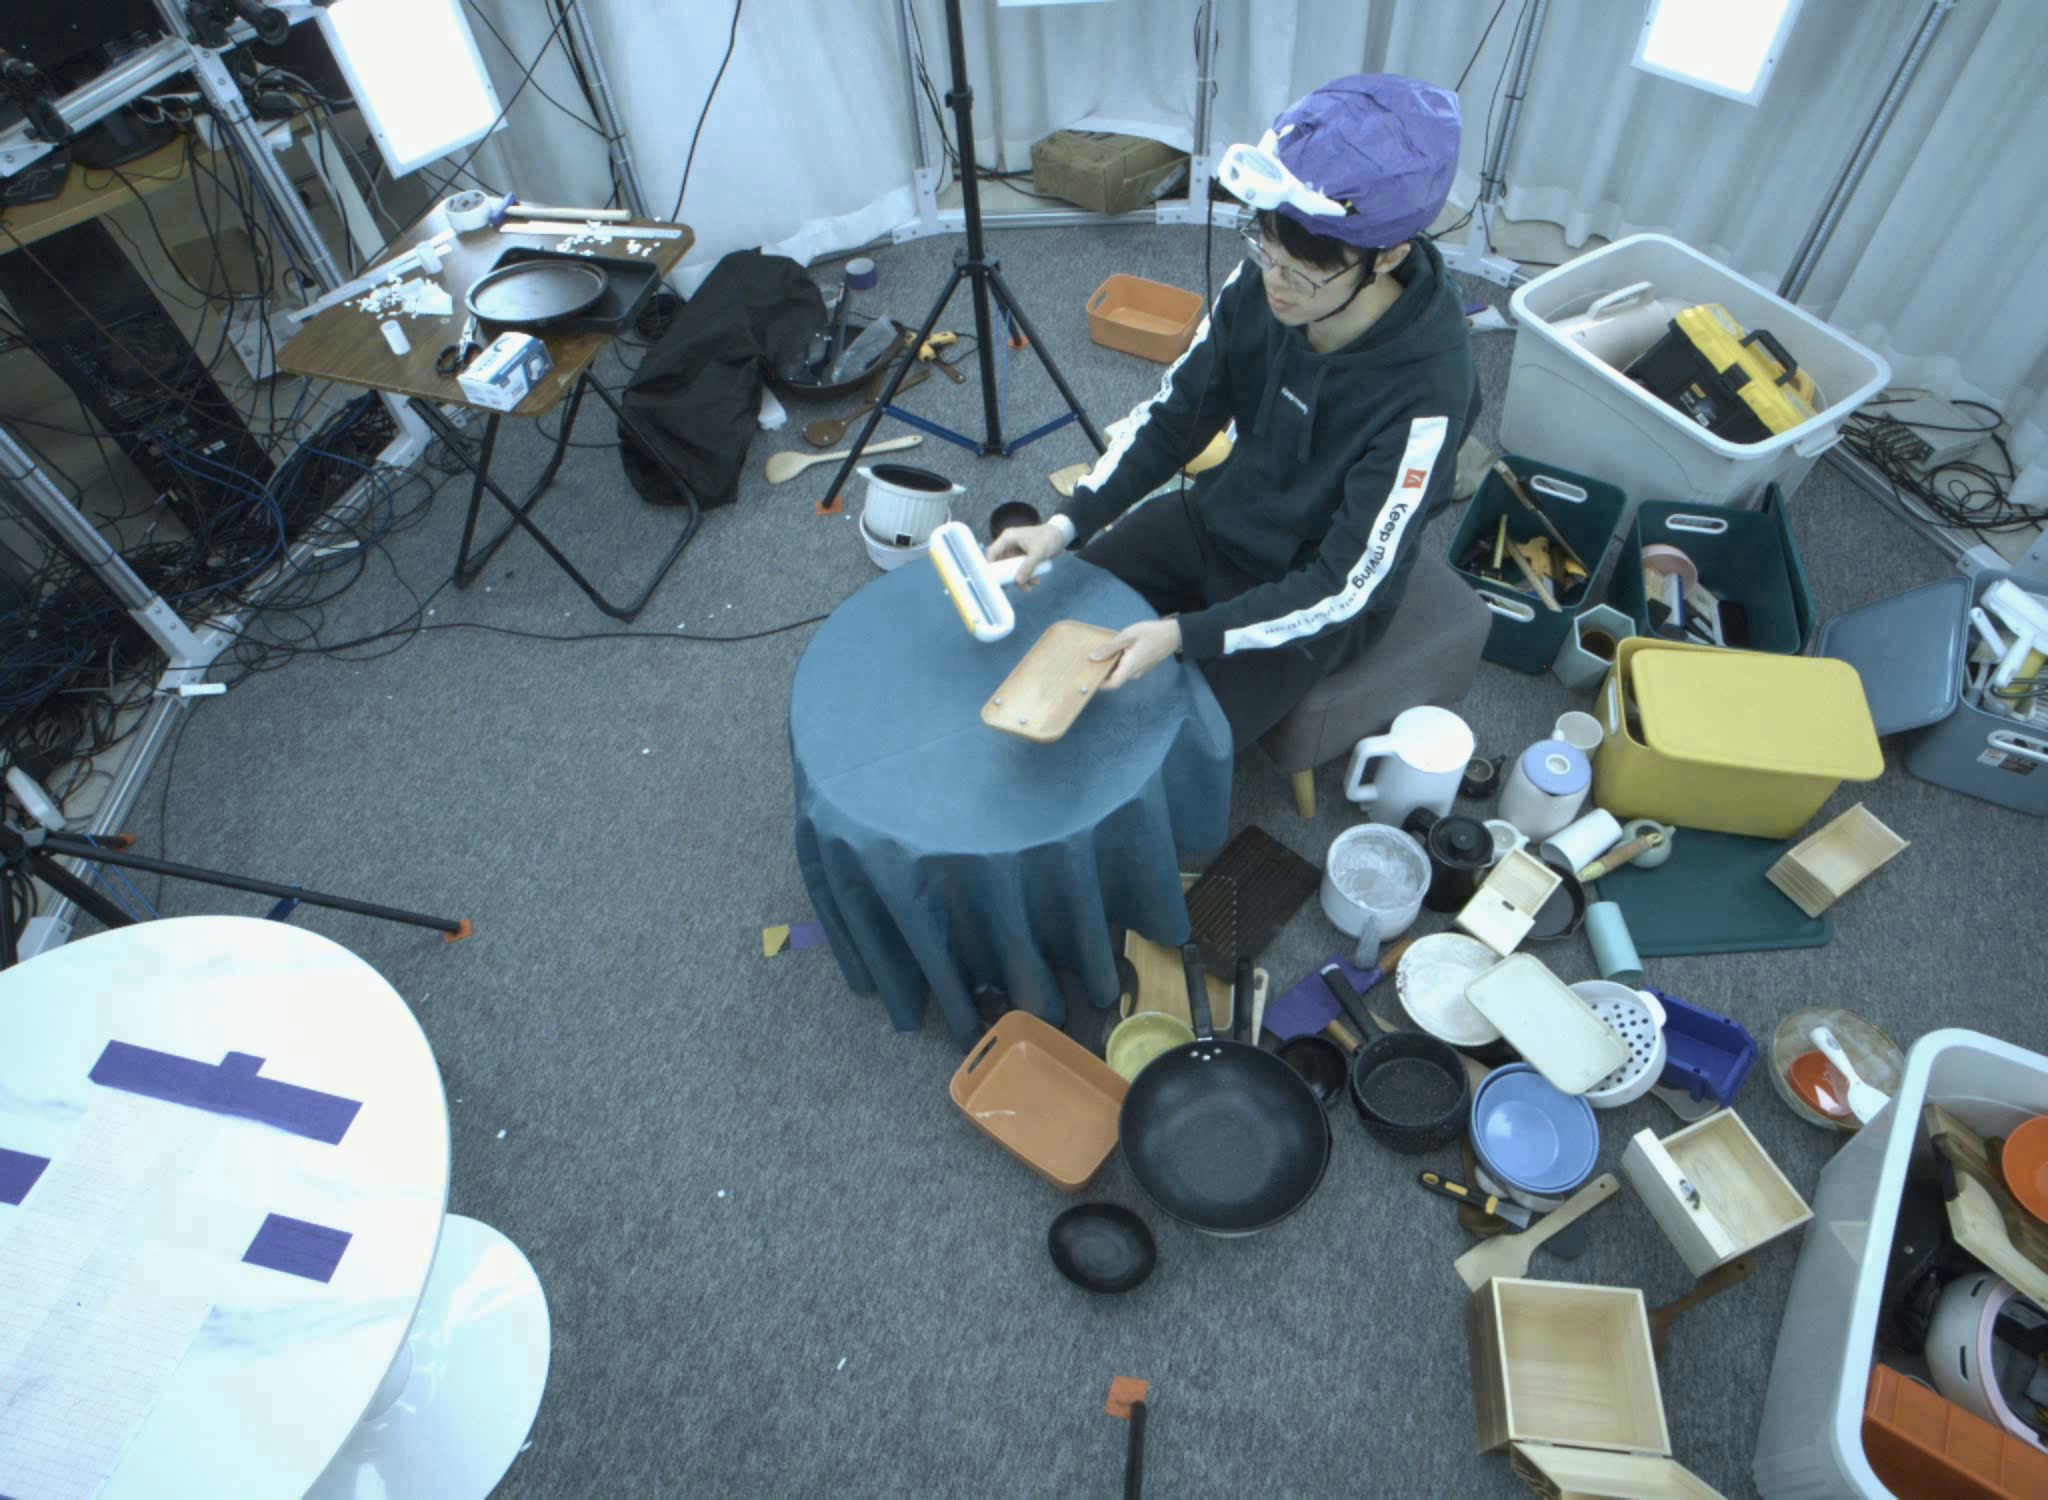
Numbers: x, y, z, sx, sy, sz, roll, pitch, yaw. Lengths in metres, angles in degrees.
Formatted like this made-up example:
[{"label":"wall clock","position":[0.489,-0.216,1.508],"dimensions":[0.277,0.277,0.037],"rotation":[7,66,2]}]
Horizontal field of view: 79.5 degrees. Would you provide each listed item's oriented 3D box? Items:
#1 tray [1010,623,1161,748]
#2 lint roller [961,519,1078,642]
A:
[{"label":"tray","position":[0.089,-0.094,1.726],"dimensions":[0.128,0.023,0.252],"rotation":[21,49,23]},{"label":"lint roller","position":[0.009,-0.259,1.857],"dimensions":[0.196,0.073,0.191],"rotation":[-13,74,-35]}]
